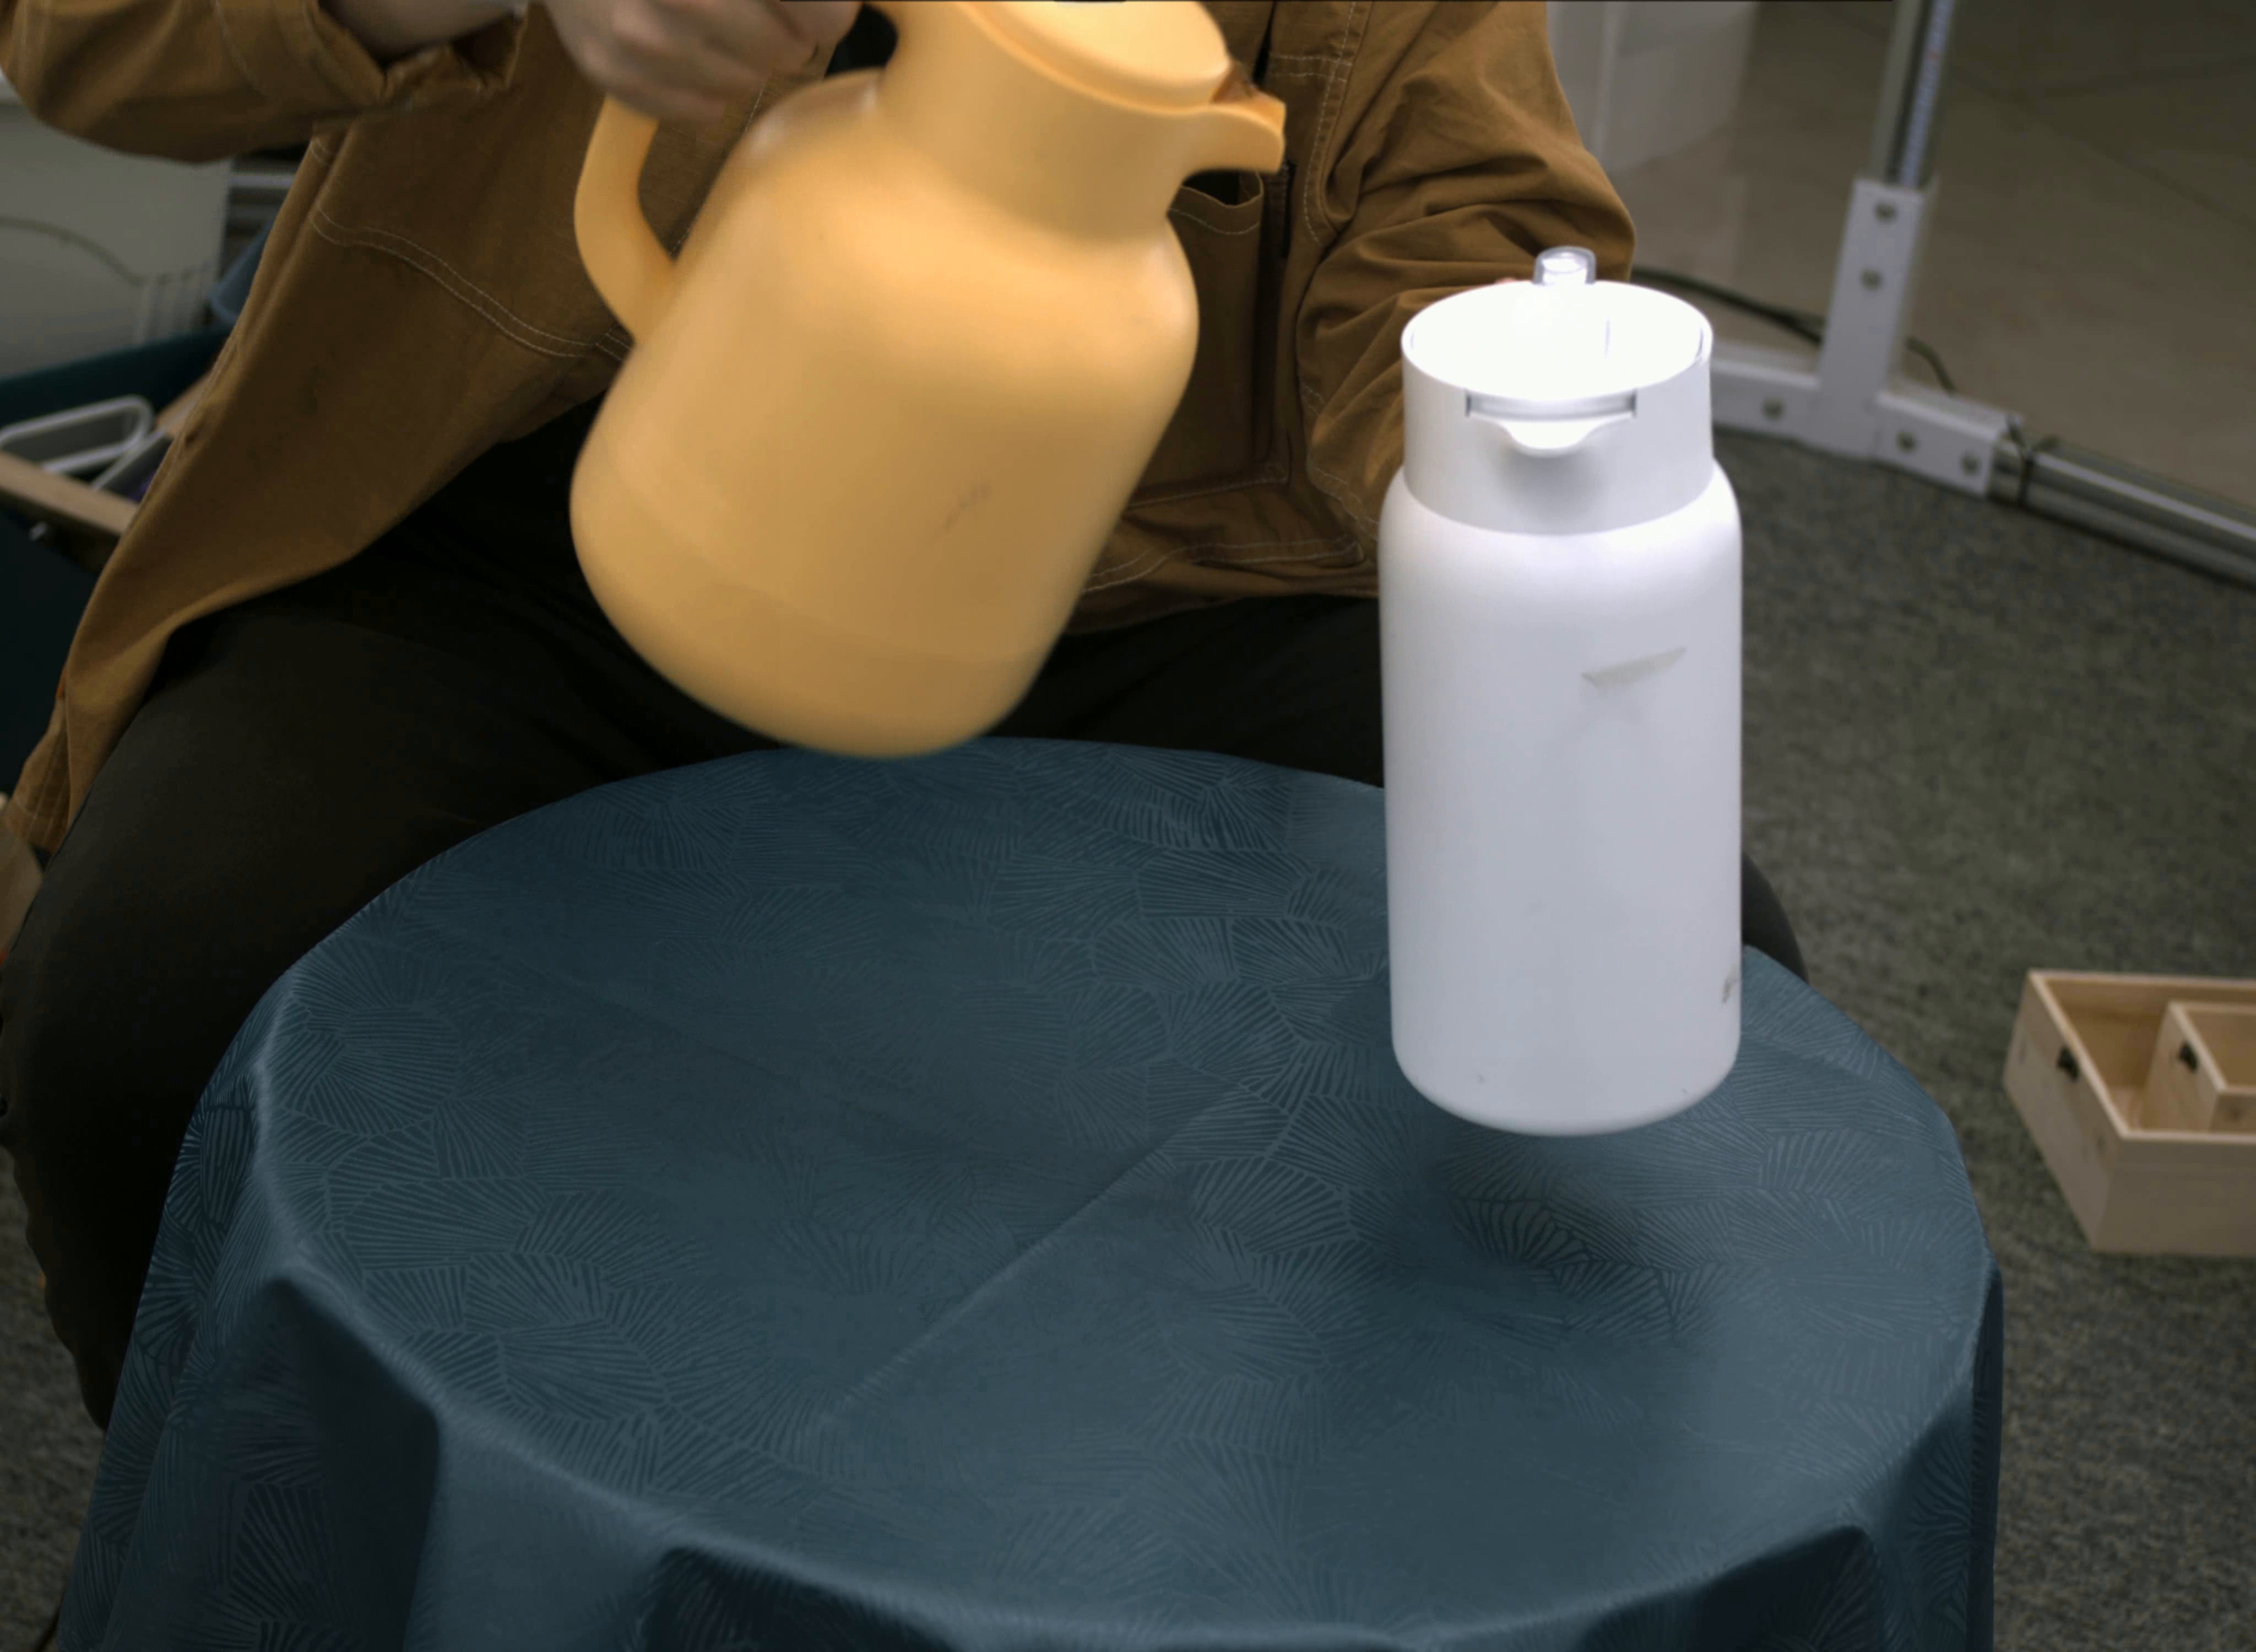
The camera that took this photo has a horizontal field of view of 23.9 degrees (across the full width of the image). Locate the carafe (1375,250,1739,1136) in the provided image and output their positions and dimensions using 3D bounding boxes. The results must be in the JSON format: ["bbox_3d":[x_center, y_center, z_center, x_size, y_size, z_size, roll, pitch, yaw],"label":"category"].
[{"bbox_3d":[0.141,-0.047,1.750,0.124,0.268,0.173,-2,26,8],"label":"carafe"}]

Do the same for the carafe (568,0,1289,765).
[{"bbox_3d":[-0.079,-0.165,1.665,0.201,0.260,0.164,25,26,-9],"label":"carafe"}]
